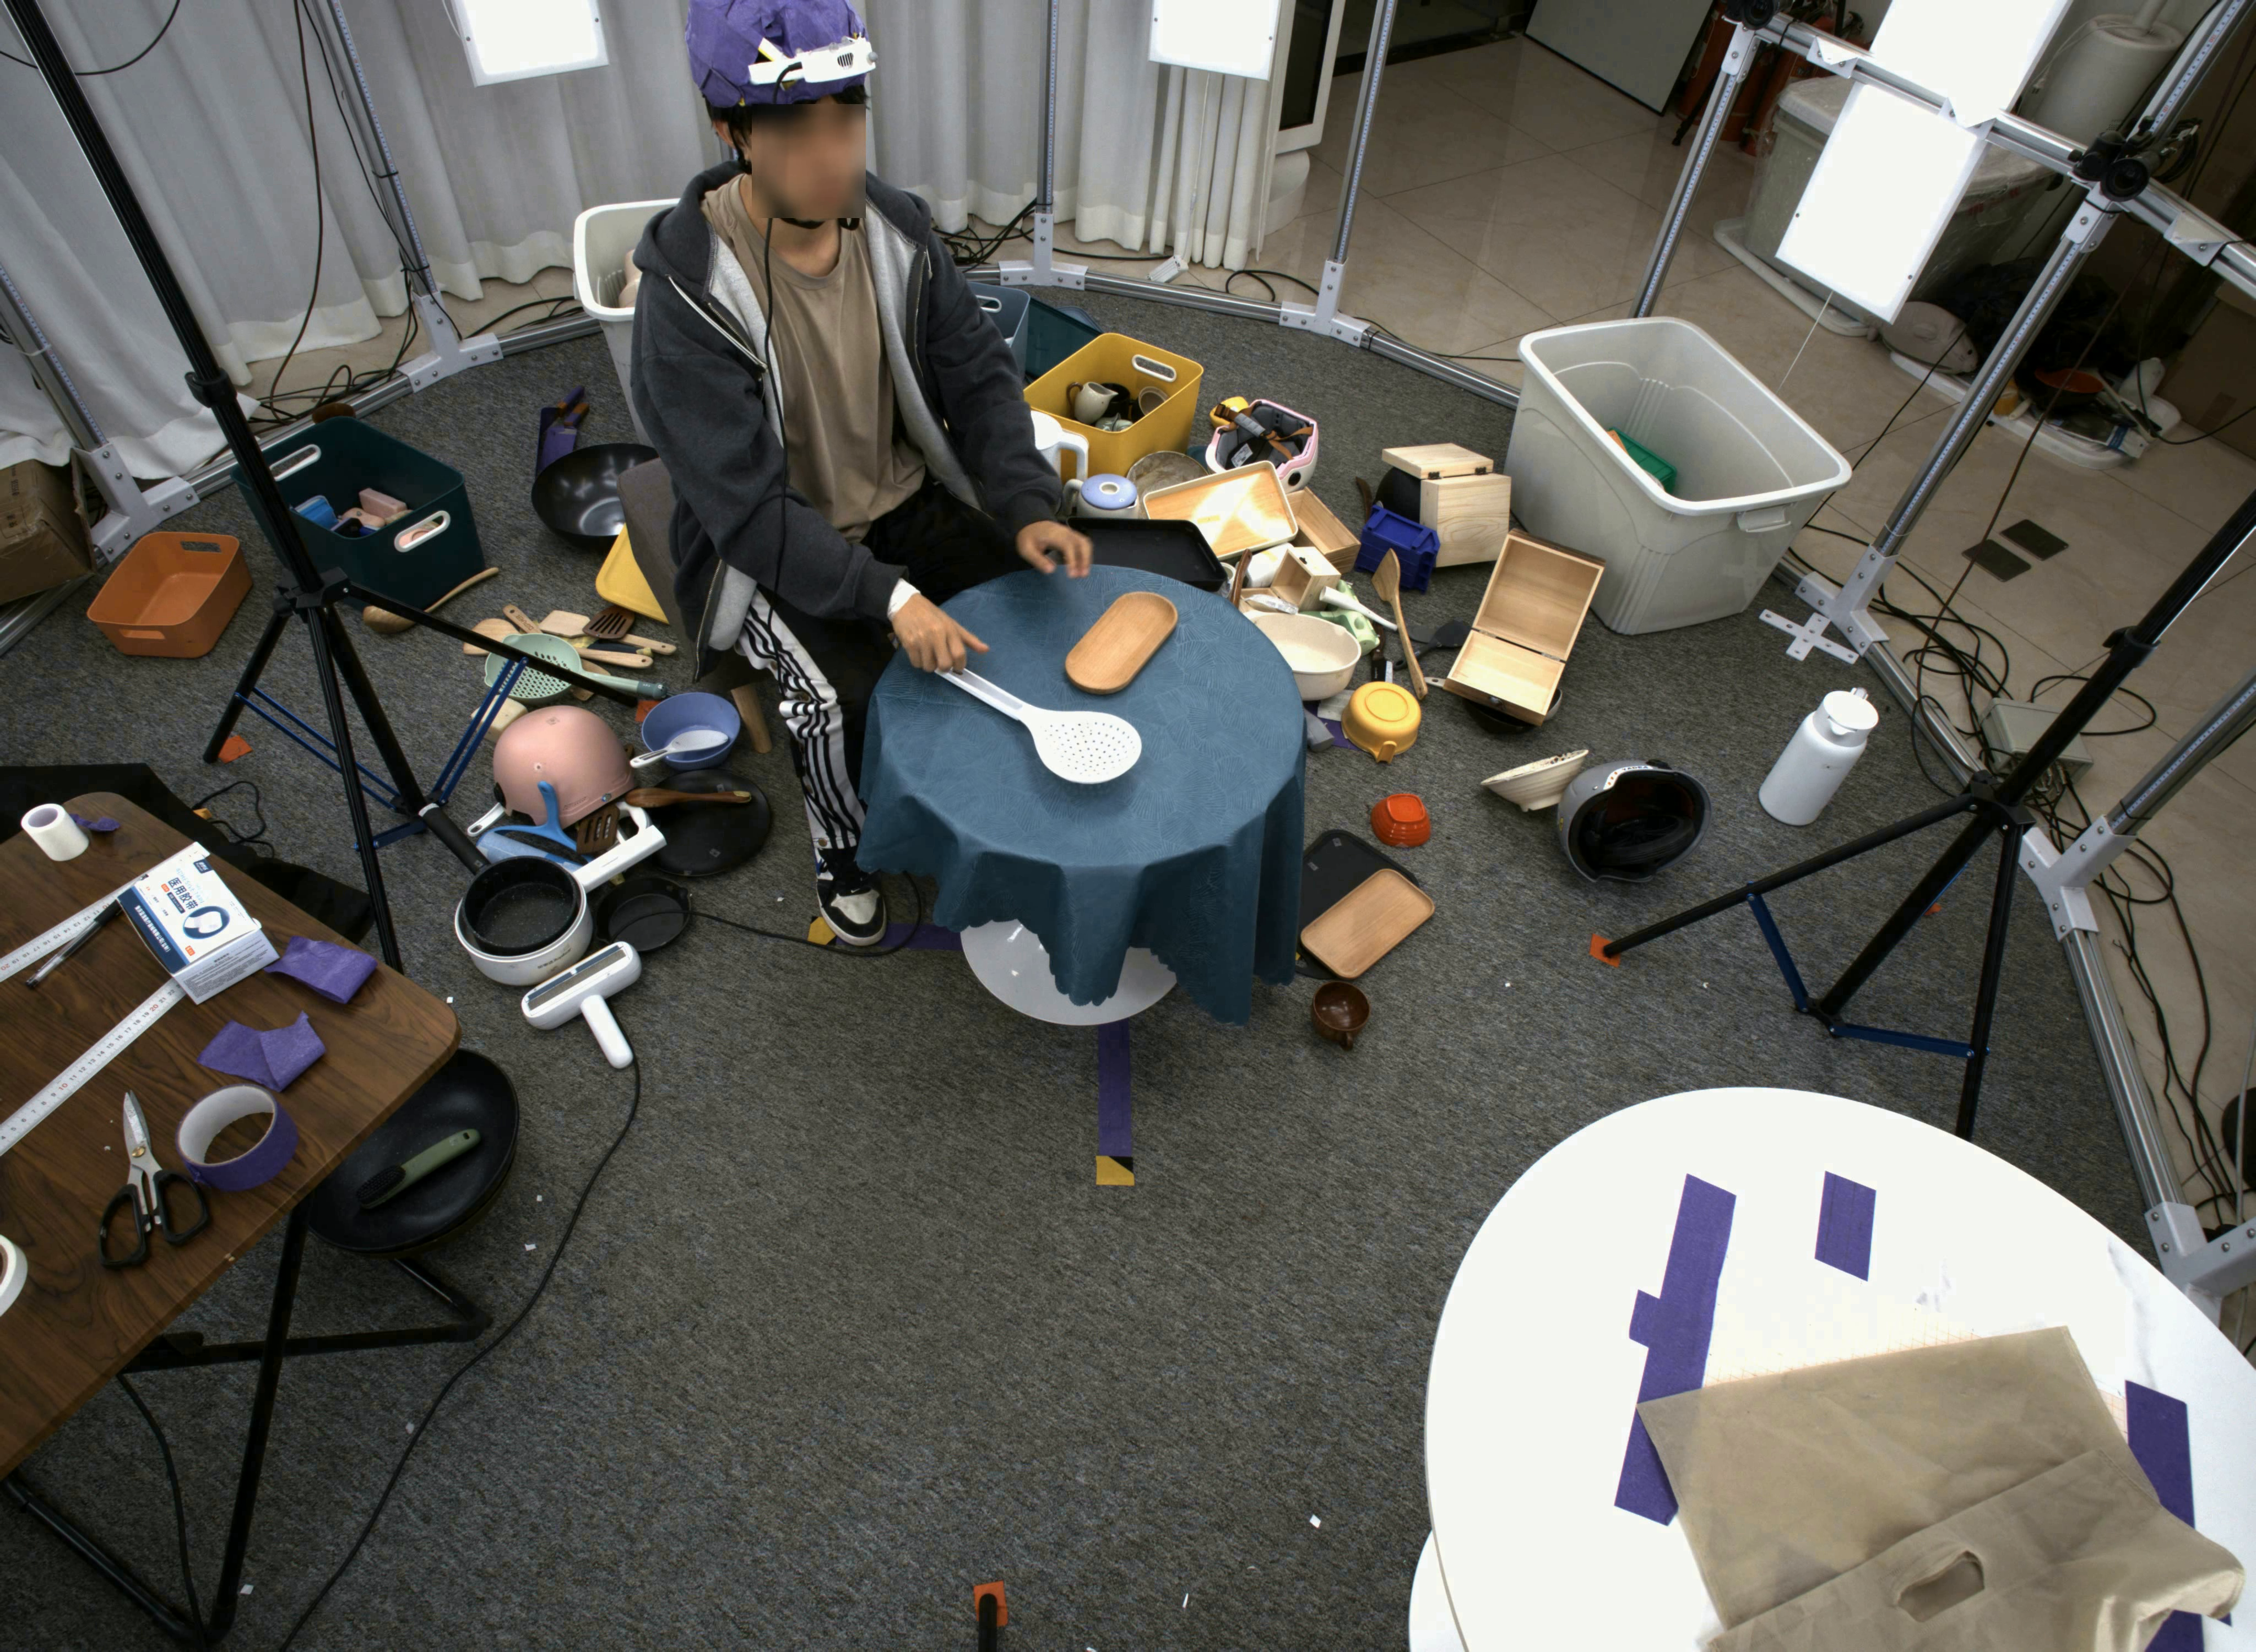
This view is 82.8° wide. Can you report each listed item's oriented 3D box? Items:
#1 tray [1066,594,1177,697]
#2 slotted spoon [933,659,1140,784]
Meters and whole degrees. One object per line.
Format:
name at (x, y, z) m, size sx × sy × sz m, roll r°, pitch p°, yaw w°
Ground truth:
tray at (-0.008, -0.268, 1.888) m, size 0.102 × 0.020 × 0.235 m, roll 23°, pitch 52°, yaw 17°
slotted spoon at (-0.136, -0.150, 1.758) m, size 0.354 × 0.044 × 0.137 m, roll 33°, pitch 53°, yaw 24°
